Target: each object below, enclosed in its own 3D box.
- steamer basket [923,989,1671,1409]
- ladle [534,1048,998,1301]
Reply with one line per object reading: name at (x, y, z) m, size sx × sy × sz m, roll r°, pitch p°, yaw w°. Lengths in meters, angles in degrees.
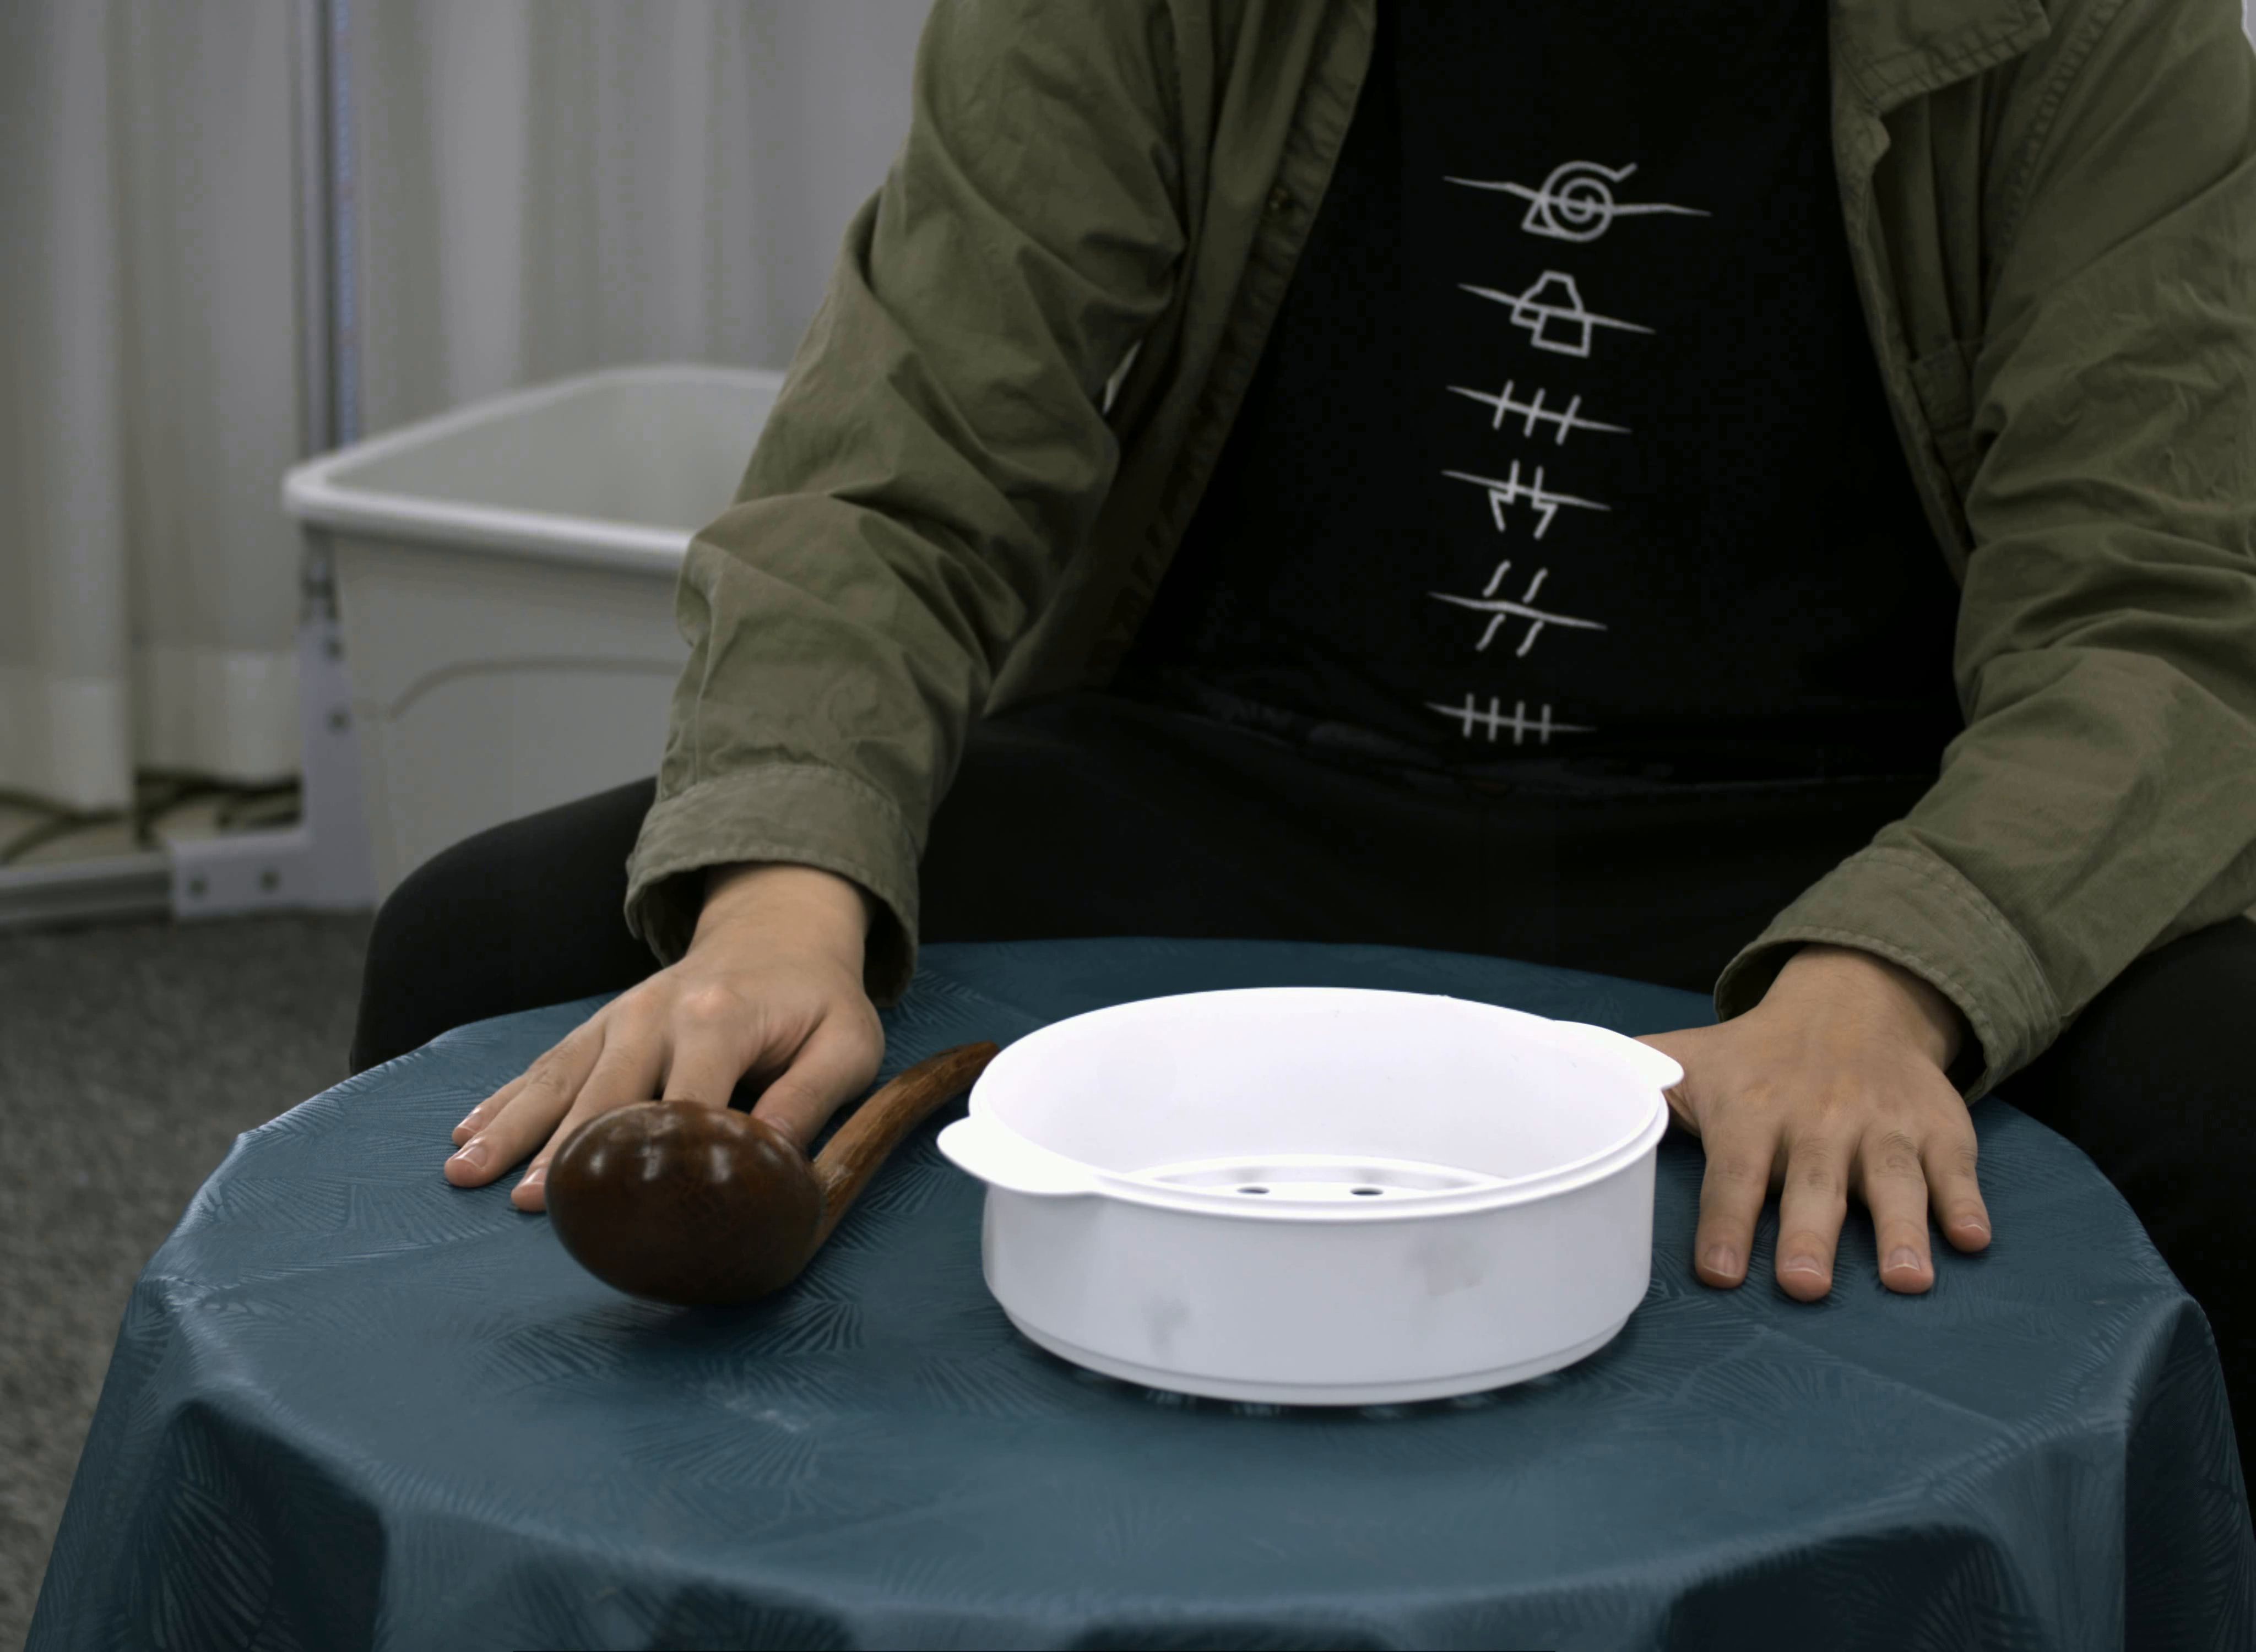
steamer basket at (0.050, 0.107, 1.522) m, size 0.231 × 0.070 × 0.199 m, roll -7°, pitch 17°, yaw -29°
ladle at (-0.097, 0.081, 1.600) m, size 0.081 × 0.077 × 0.274 m, roll -10°, pitch 11°, yaw 20°
